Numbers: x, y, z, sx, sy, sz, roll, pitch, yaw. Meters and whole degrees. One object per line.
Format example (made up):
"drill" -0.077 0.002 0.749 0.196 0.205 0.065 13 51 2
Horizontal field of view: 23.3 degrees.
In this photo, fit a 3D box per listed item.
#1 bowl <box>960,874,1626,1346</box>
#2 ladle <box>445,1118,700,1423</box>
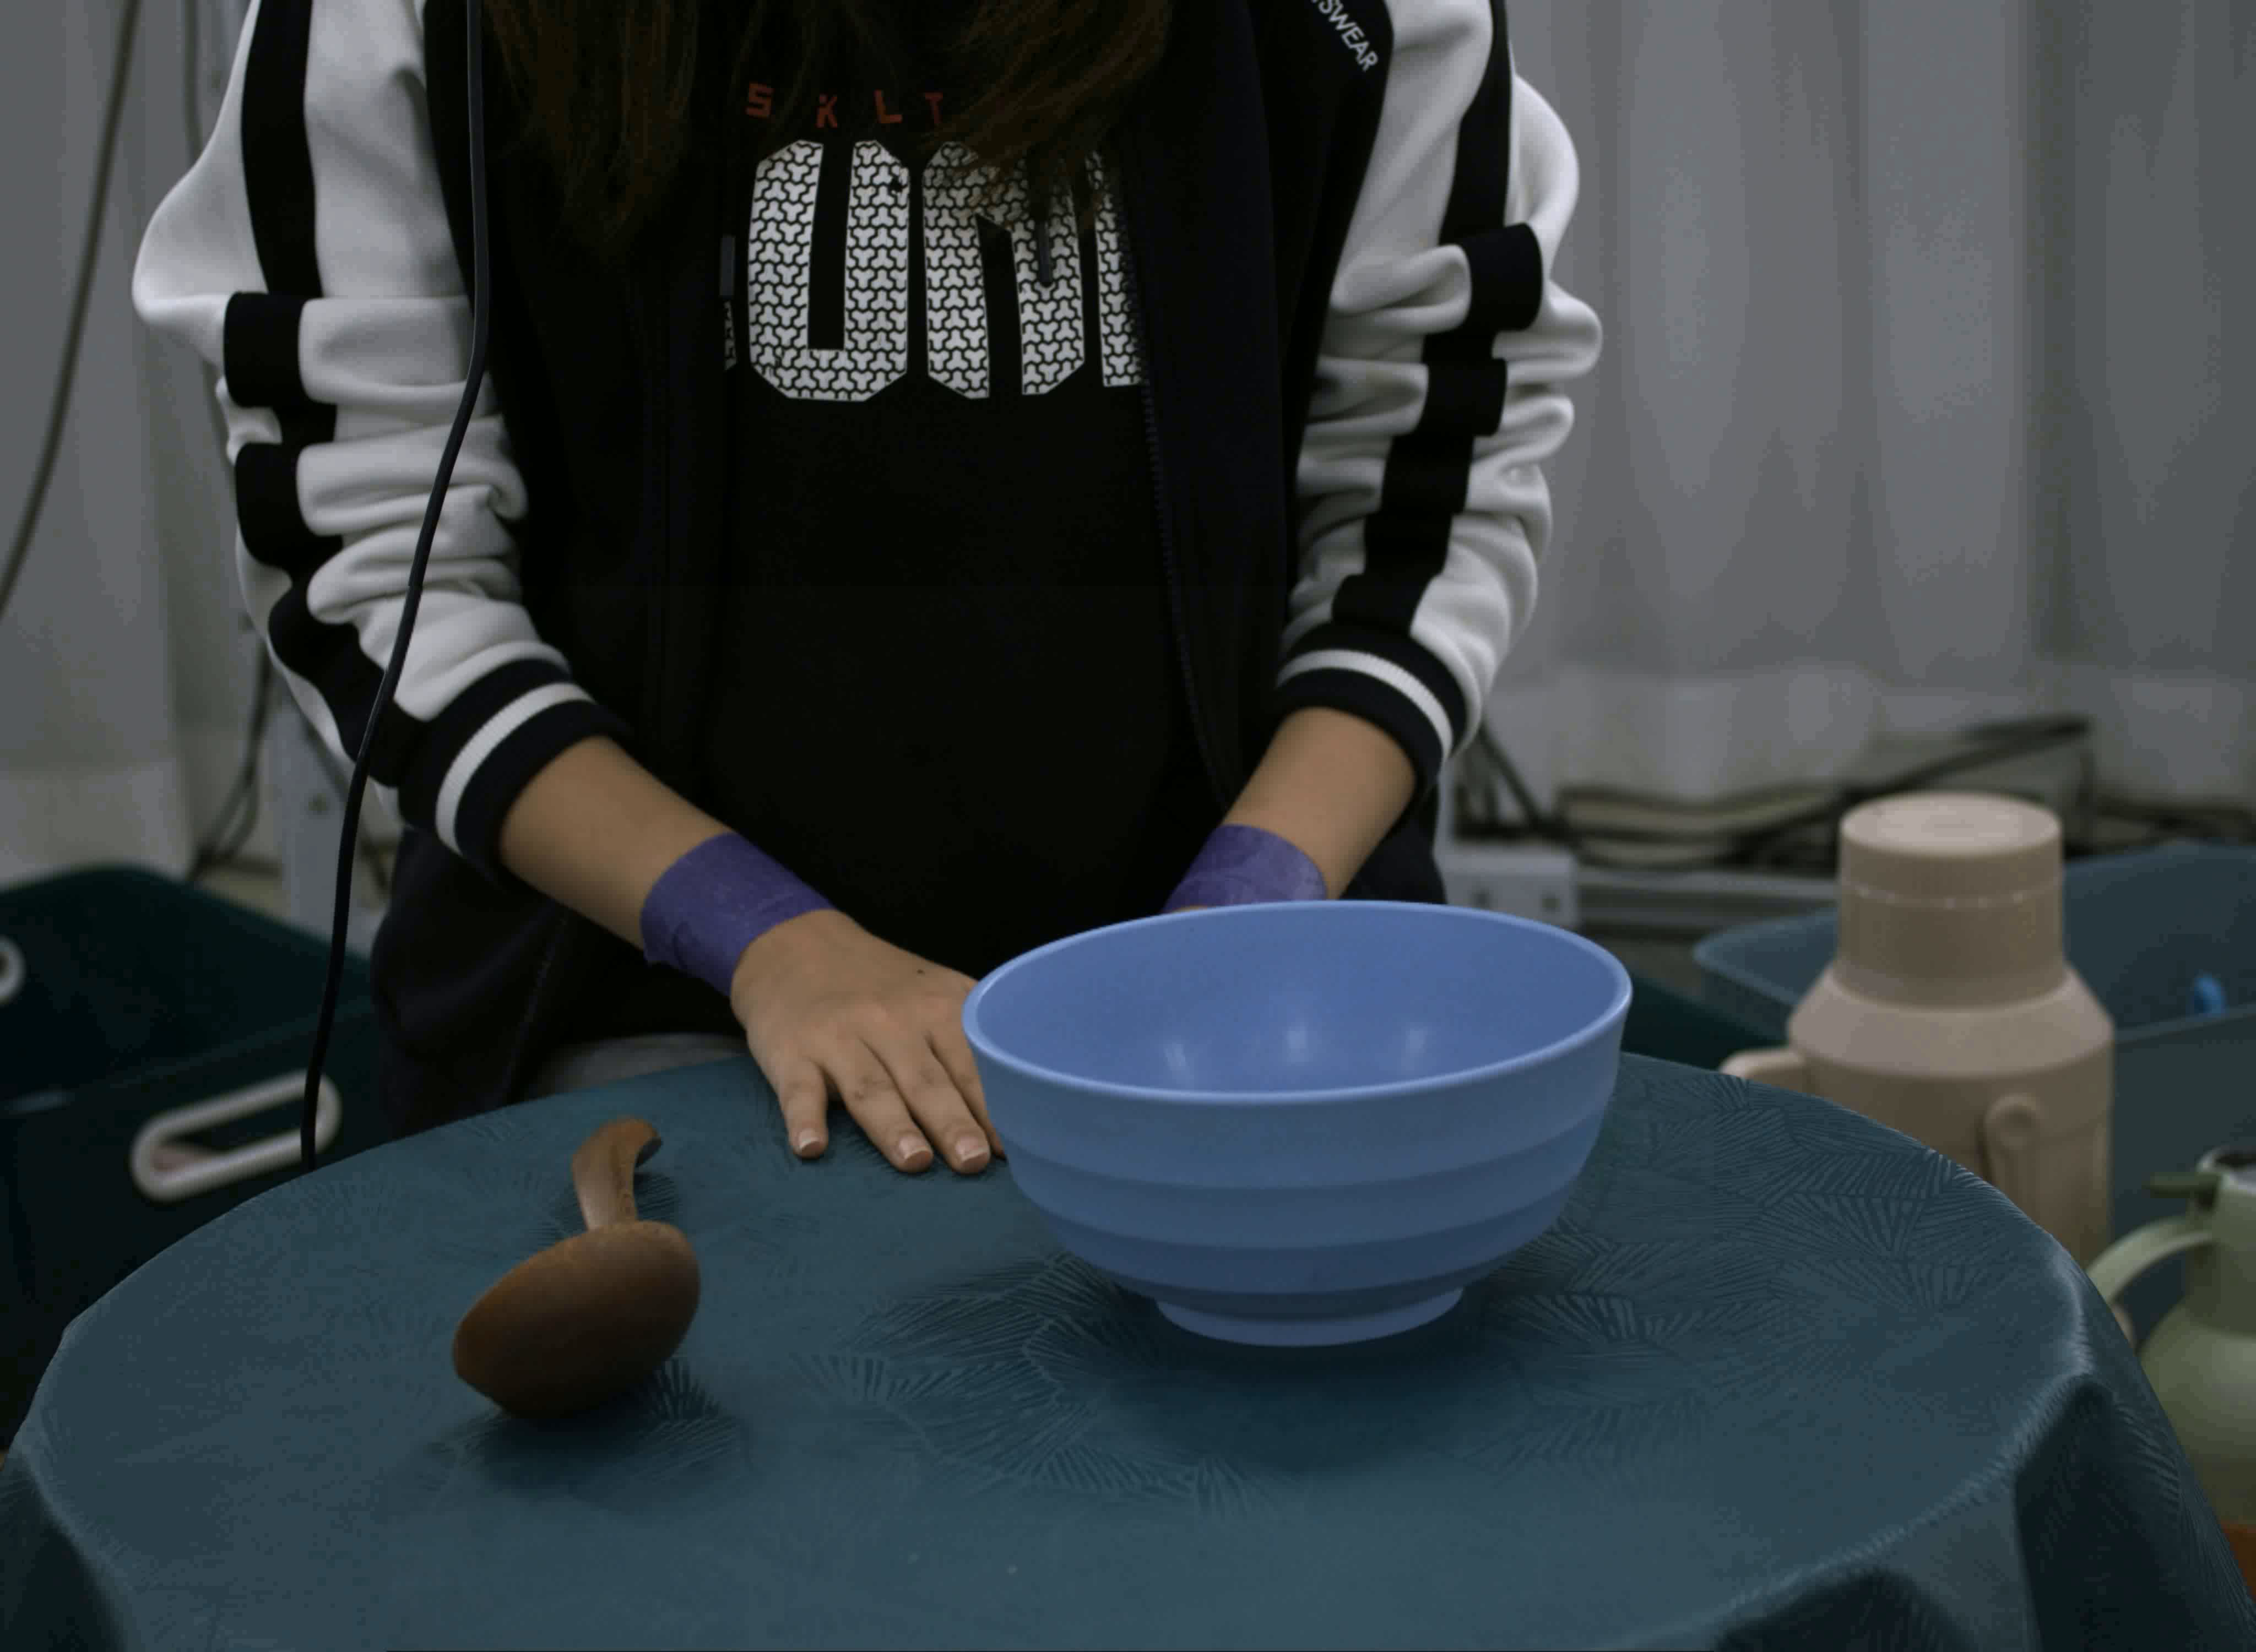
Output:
"bowl" 0.053 0.091 1.611 0.196 0.095 0.198 -7 18 2
"ladle" -0.162 0.115 1.629 0.076 0.065 0.262 -31 15 3
